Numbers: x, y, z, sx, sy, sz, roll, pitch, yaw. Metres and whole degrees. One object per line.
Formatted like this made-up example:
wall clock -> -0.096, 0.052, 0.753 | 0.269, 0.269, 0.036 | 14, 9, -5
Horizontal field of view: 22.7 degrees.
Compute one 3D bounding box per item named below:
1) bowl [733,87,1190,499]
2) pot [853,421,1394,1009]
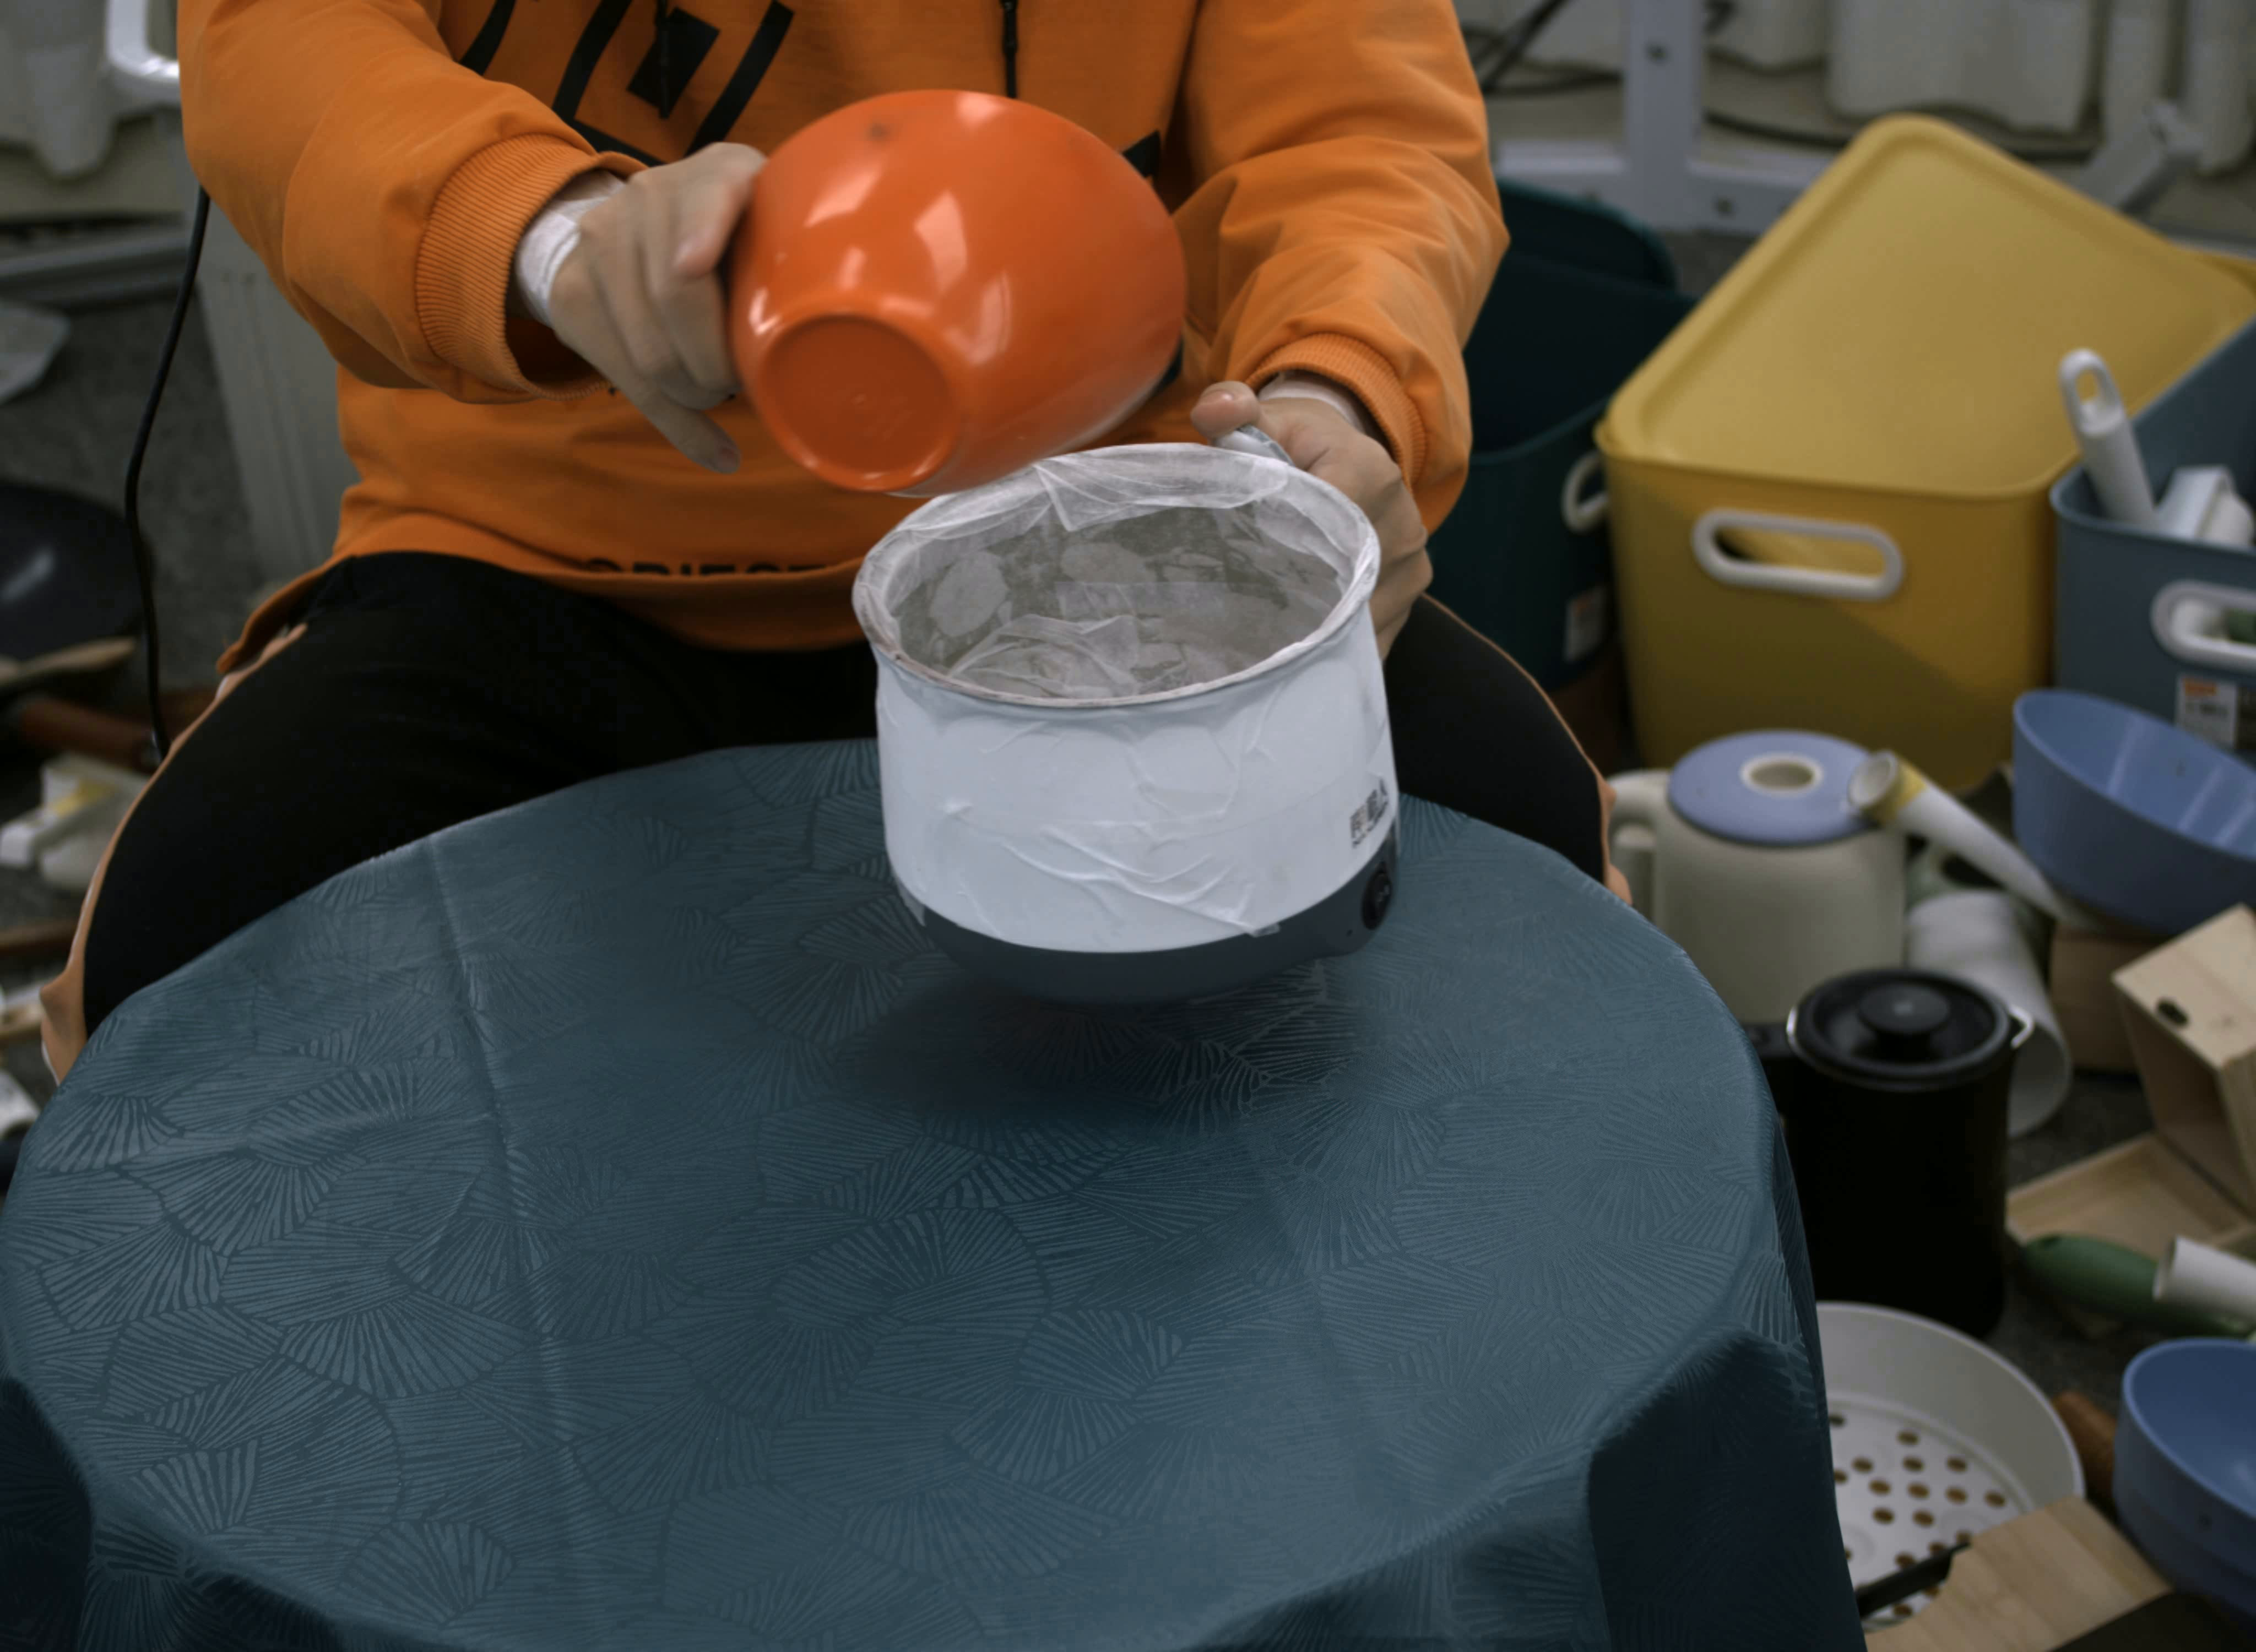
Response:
bowl -> -0.062, -0.154, 1.796 | 0.147, 0.146, 0.106 | 4, 33, 12
pot -> 0.012, -0.046, 1.935 | 0.177, 0.135, 0.238 | 9, 34, 22
